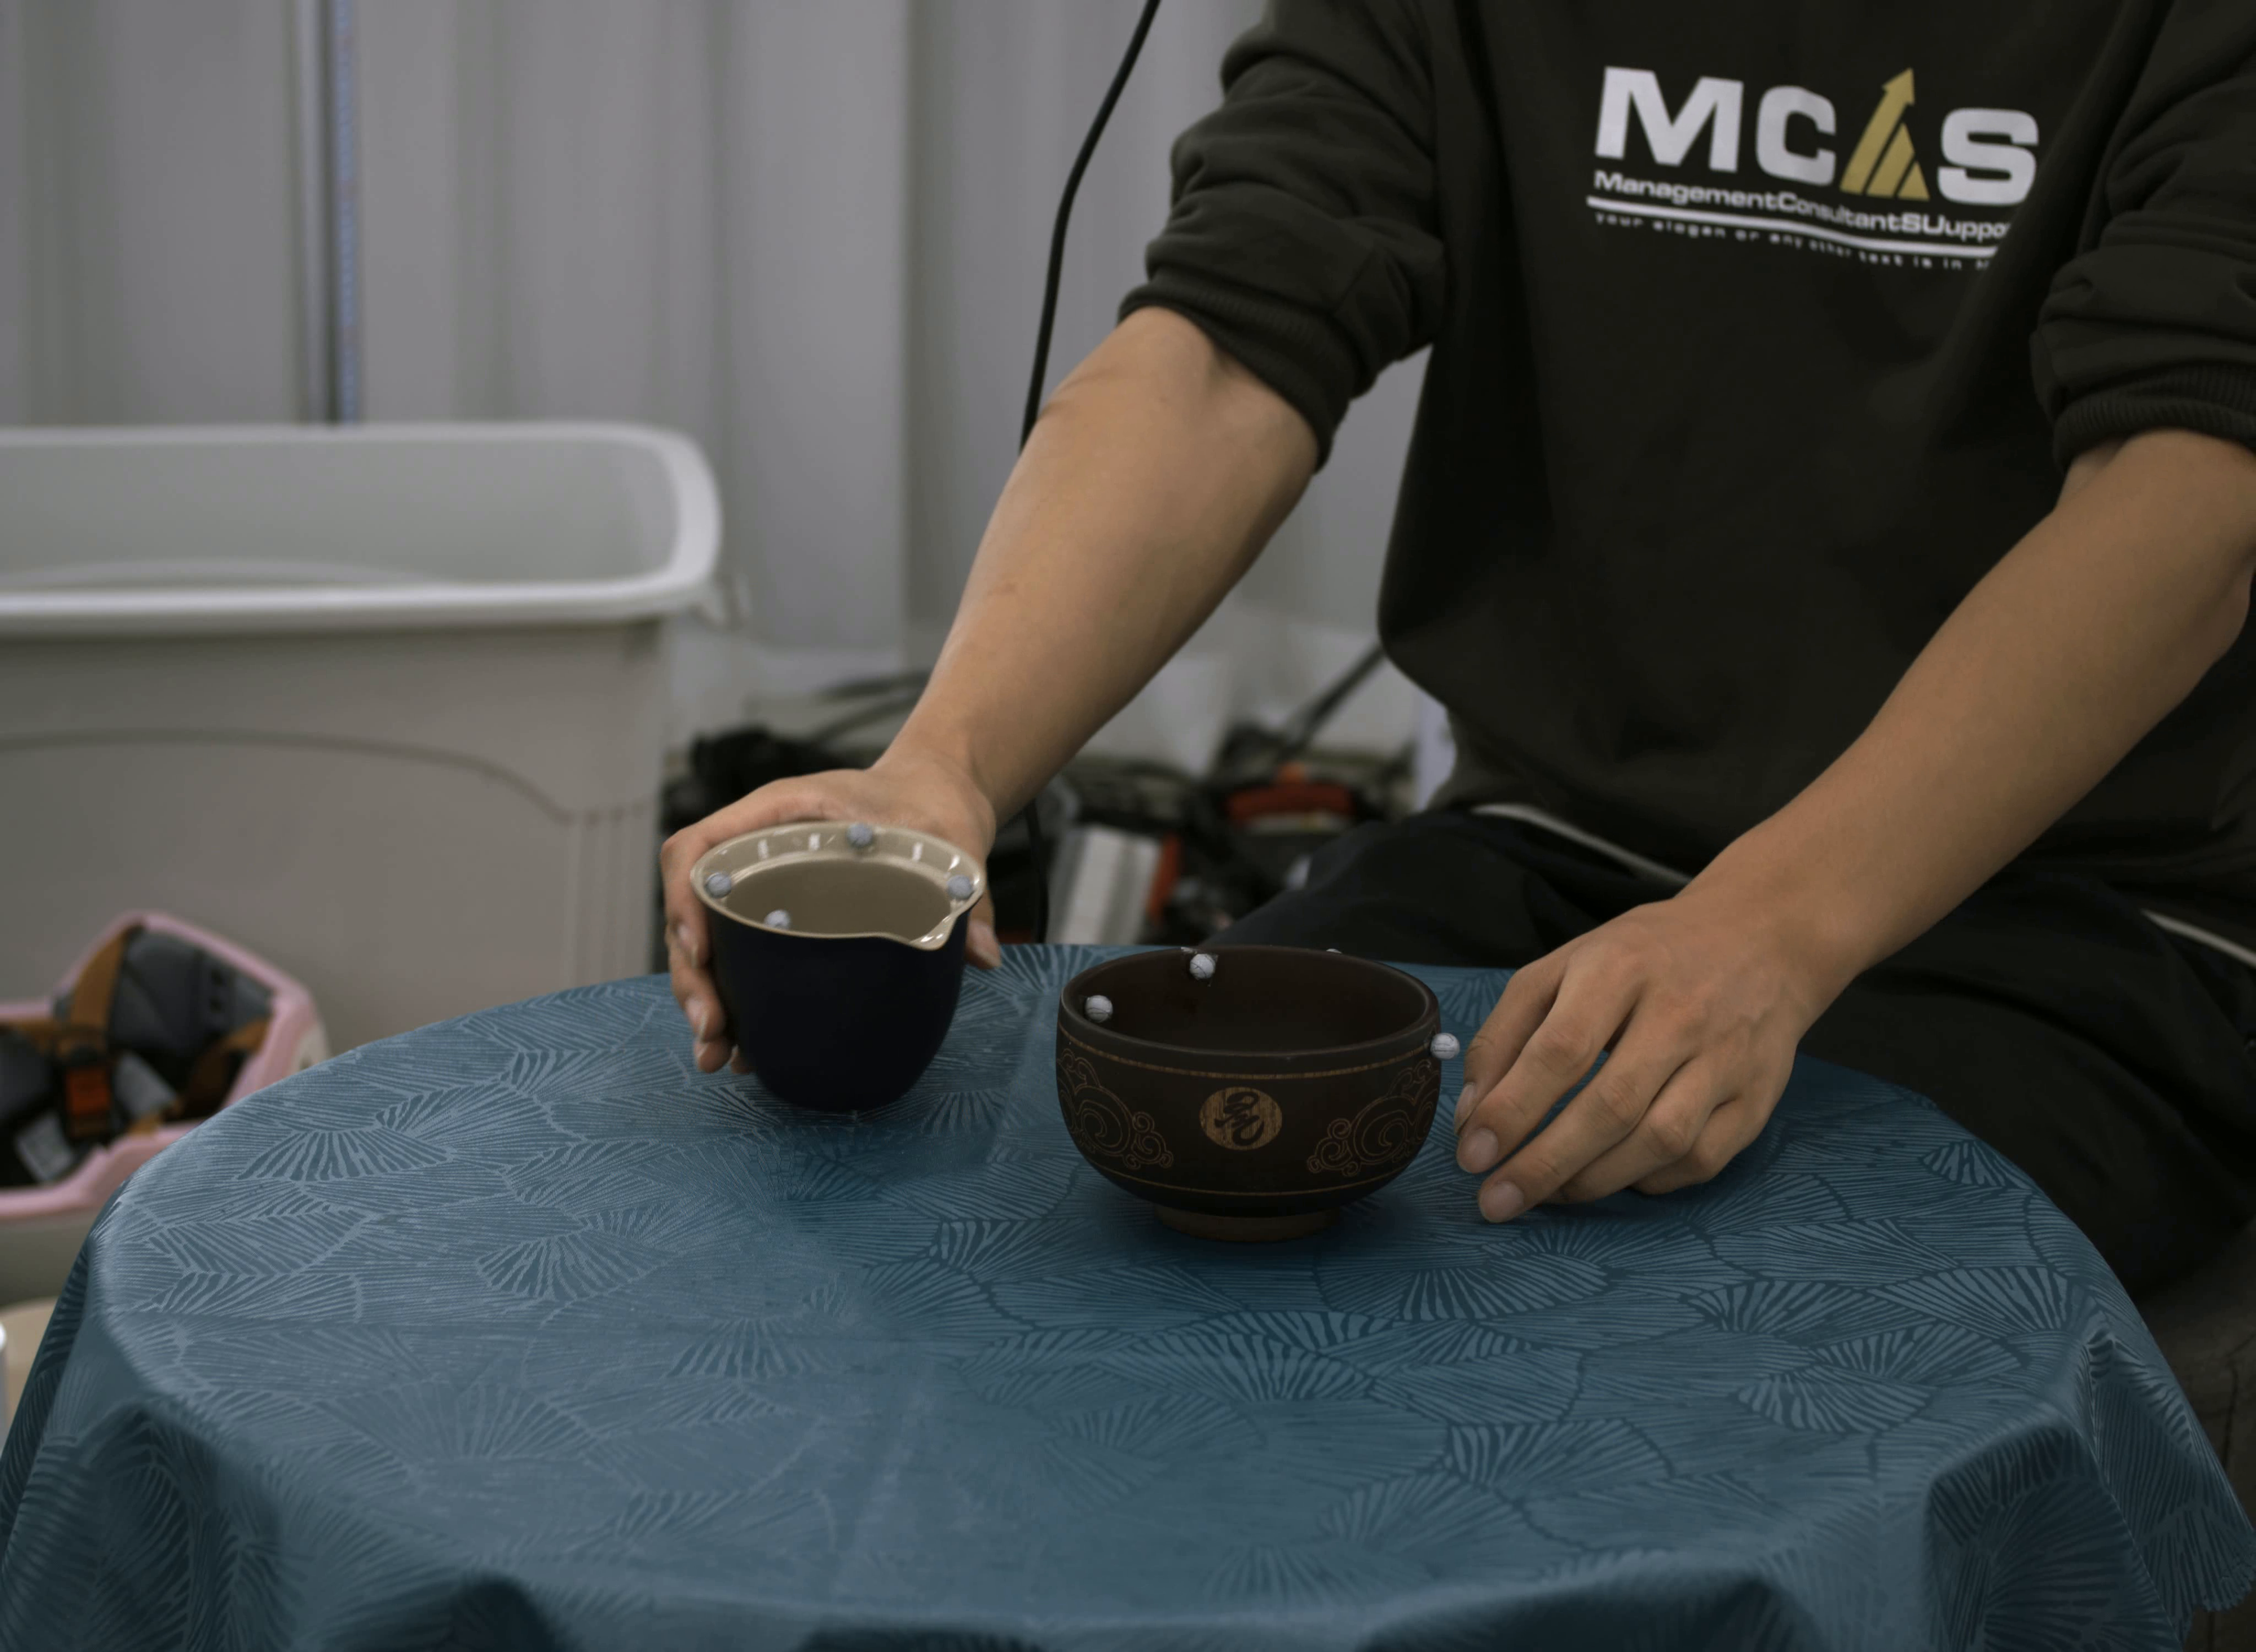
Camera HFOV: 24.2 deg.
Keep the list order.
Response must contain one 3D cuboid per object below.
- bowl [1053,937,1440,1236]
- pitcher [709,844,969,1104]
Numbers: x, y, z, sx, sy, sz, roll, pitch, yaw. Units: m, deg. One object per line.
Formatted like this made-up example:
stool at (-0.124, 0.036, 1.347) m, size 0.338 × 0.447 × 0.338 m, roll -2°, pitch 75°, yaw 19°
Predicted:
bowl at (0.036, 0.083, 1.604) m, size 0.117 × 0.070 × 0.117 m, roll -1°, pitch 17°, yaw 1°
pitcher at (-0.091, 0.049, 1.690) m, size 0.084 × 0.072 × 0.094 m, roll -9°, pitch 24°, yaw -29°
